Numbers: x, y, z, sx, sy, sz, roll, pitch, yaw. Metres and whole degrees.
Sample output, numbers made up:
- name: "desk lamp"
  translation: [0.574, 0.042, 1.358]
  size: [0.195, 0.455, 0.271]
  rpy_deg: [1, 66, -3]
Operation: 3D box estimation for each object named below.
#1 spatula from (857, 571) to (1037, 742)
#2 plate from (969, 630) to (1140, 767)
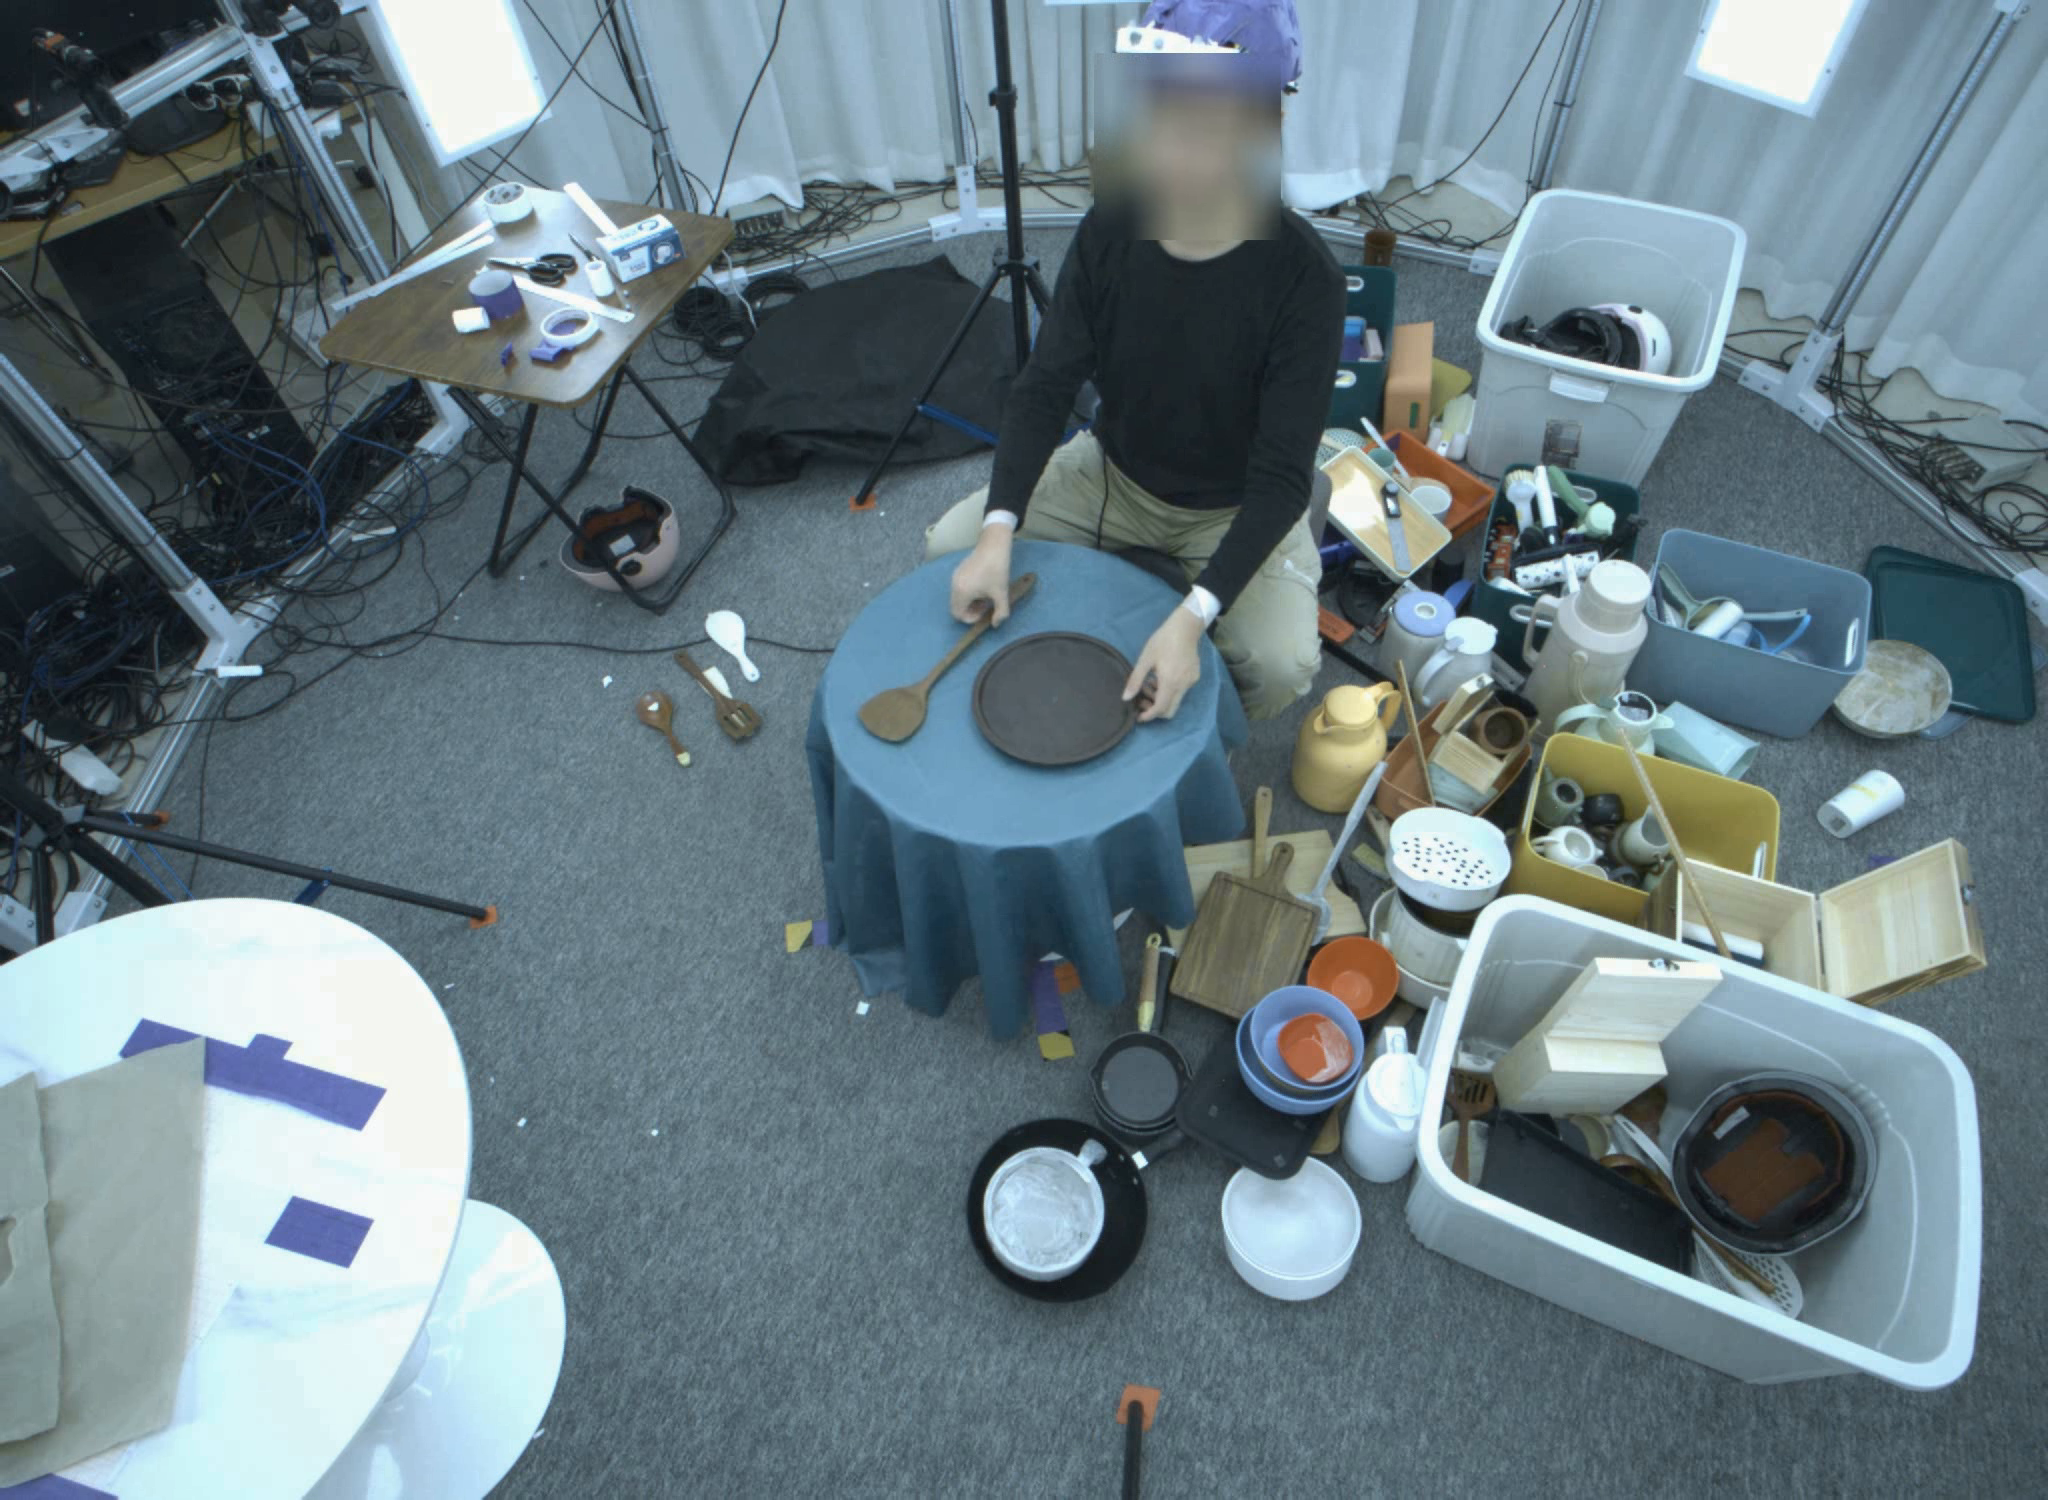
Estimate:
- name: "spatula"
  translation: [-0.104, -0.155, 1.885]
  size: [0.094, 0.016, 0.388]
  rpy_deg: [32, 65, 21]
- name: "plate"
  translation: [0.046, -0.078, 1.827]
  size: [0.254, 0.029, 0.252]
  rpy_deg: [-1, 54, 3]
